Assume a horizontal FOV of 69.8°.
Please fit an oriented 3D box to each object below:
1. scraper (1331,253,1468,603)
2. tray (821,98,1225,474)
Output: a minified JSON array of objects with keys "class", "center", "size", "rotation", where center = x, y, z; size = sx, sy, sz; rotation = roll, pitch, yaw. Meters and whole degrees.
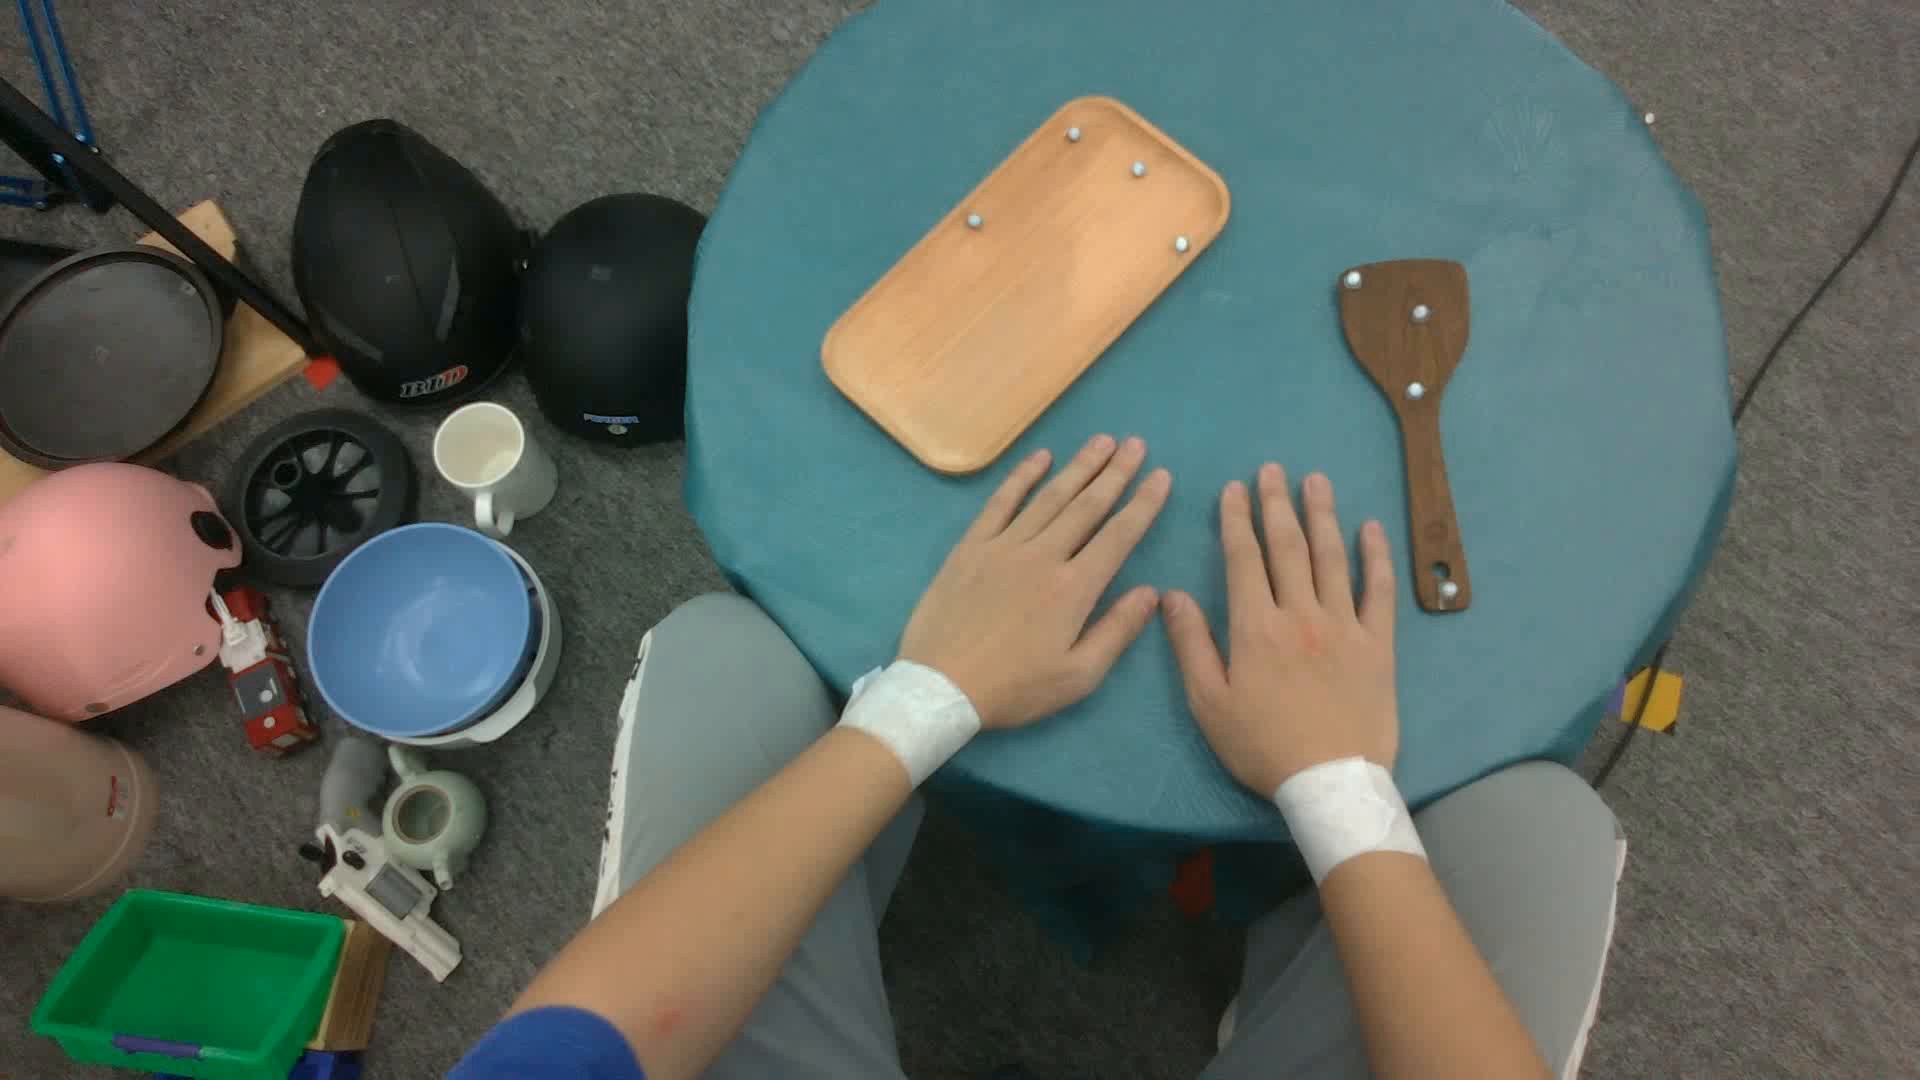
[{"class":"scraper","center":[0.258,-0.066,0.779],"size":[0.076,0.011,0.212],"rotation":[-3,72,3]},{"class":"tray","center":[0.039,-0.154,0.817],"size":[0.130,0.023,0.251],"rotation":[41,78,18]}]
